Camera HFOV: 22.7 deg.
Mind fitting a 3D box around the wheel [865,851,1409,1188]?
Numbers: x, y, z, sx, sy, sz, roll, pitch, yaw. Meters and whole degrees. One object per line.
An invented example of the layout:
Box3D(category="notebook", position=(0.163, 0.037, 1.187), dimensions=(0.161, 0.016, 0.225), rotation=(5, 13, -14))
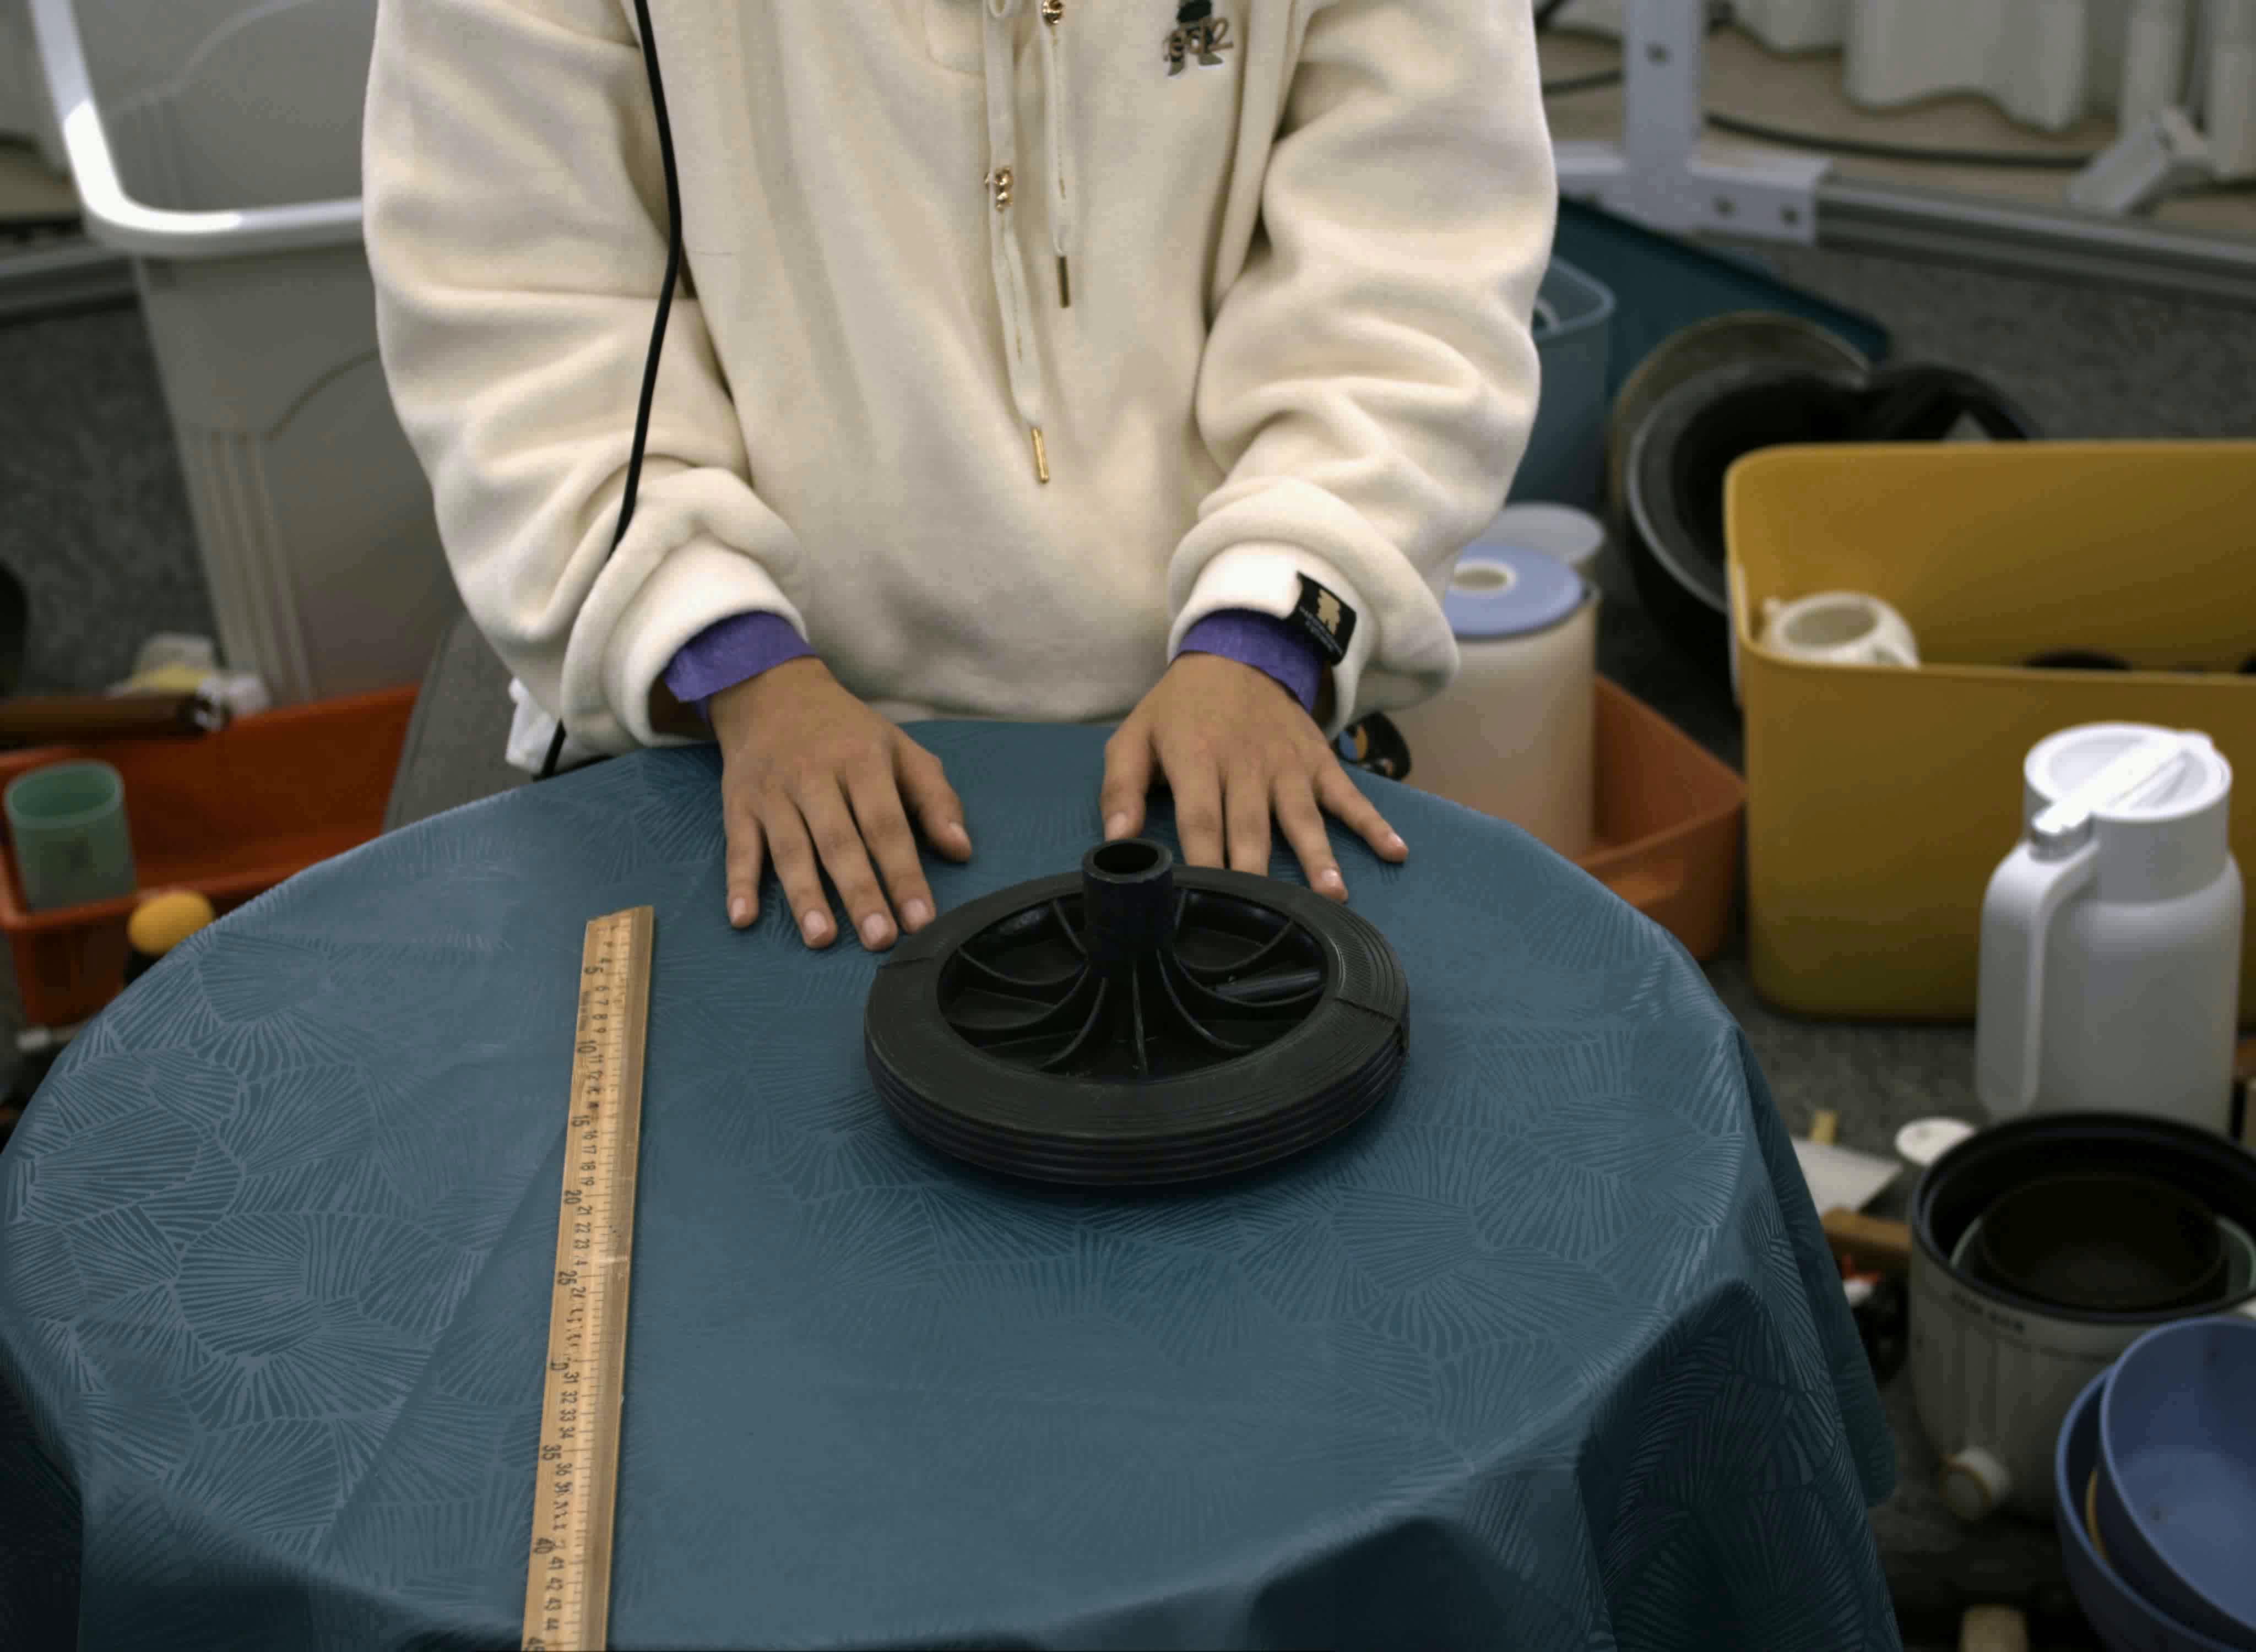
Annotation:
Box3D(category="wheel", position=(0.002, 0.050, 1.918), dimensions=(0.191, 0.078, 0.187), rotation=(-21, 32, -32))

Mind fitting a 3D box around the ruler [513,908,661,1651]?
Box3D(category="ruler", position=(-0.174, 0.148, 1.822), dimensions=(0.026, 0.006, 0.508), rotation=(-4, 27, 0))
